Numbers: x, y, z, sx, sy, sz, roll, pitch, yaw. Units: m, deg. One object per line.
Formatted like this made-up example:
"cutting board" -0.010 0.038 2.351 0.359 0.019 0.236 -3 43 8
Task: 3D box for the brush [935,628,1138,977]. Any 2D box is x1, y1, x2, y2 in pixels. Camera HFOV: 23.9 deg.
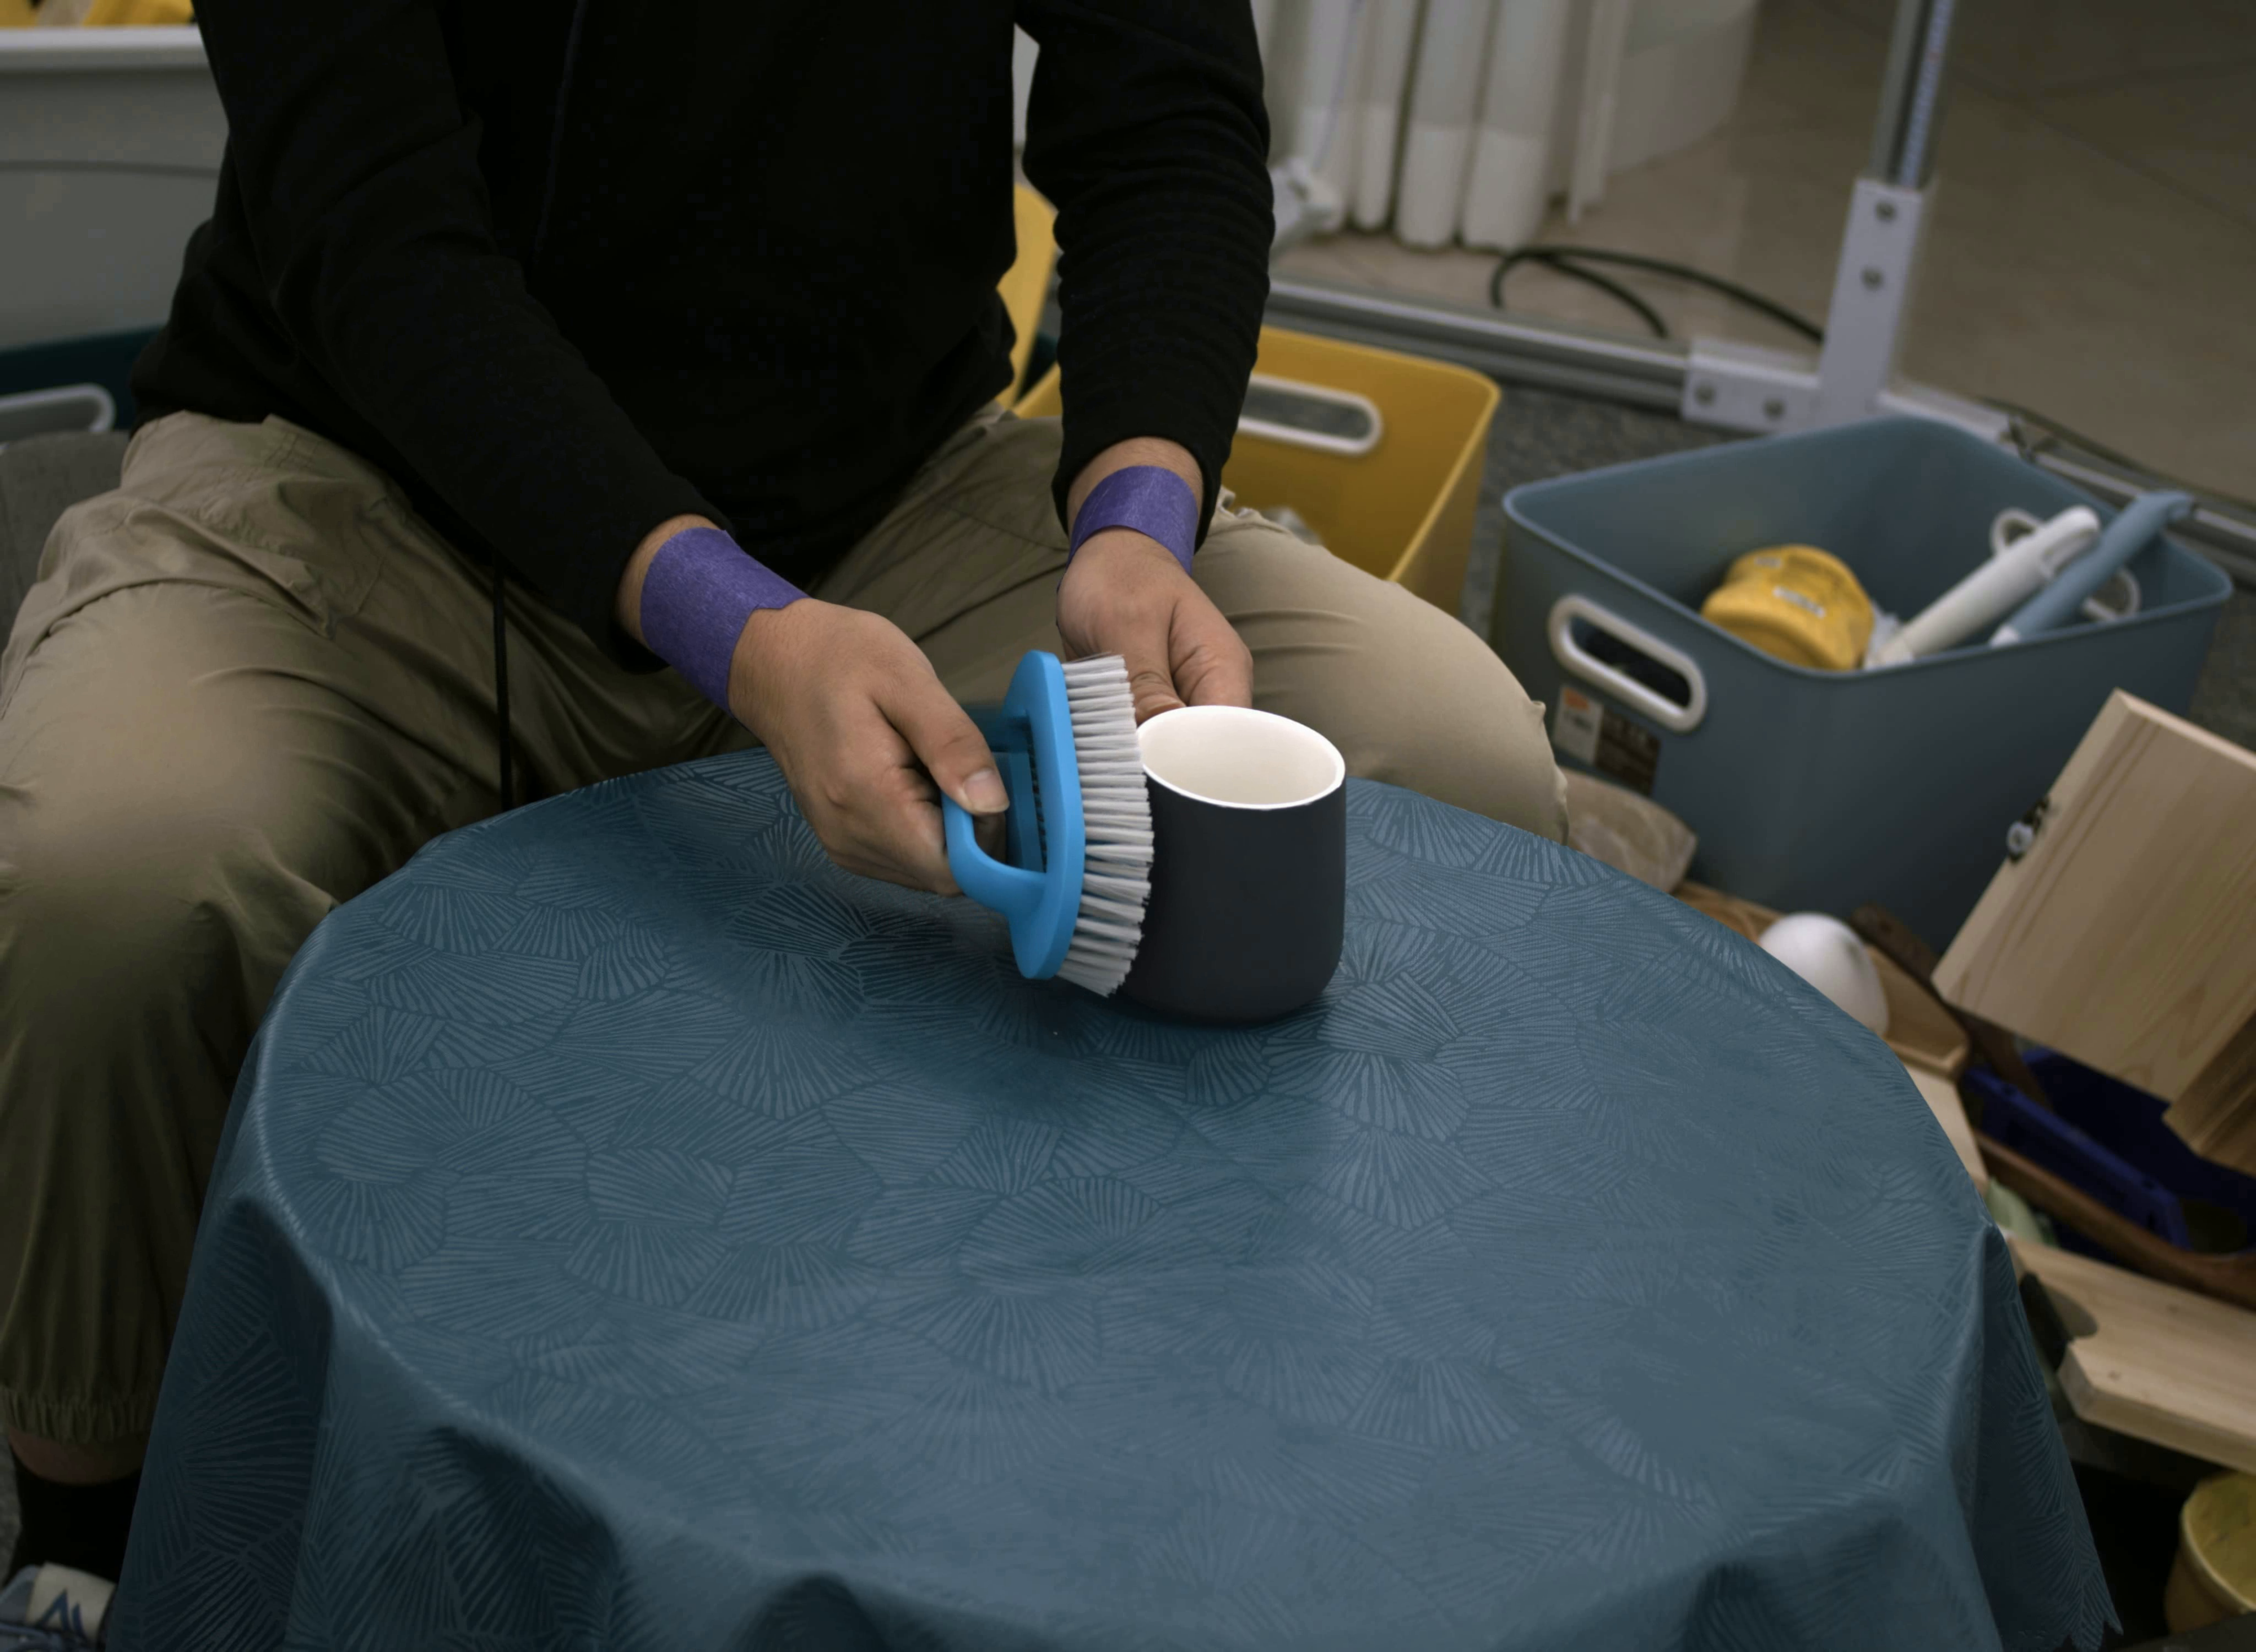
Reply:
"brush" -0.036 -0.007 1.897 0.063 0.084 0.143 4 46 -11

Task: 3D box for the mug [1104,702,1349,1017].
"mug" 0.030 0.005 1.936 0.093 0.089 0.124 -2 30 -19
